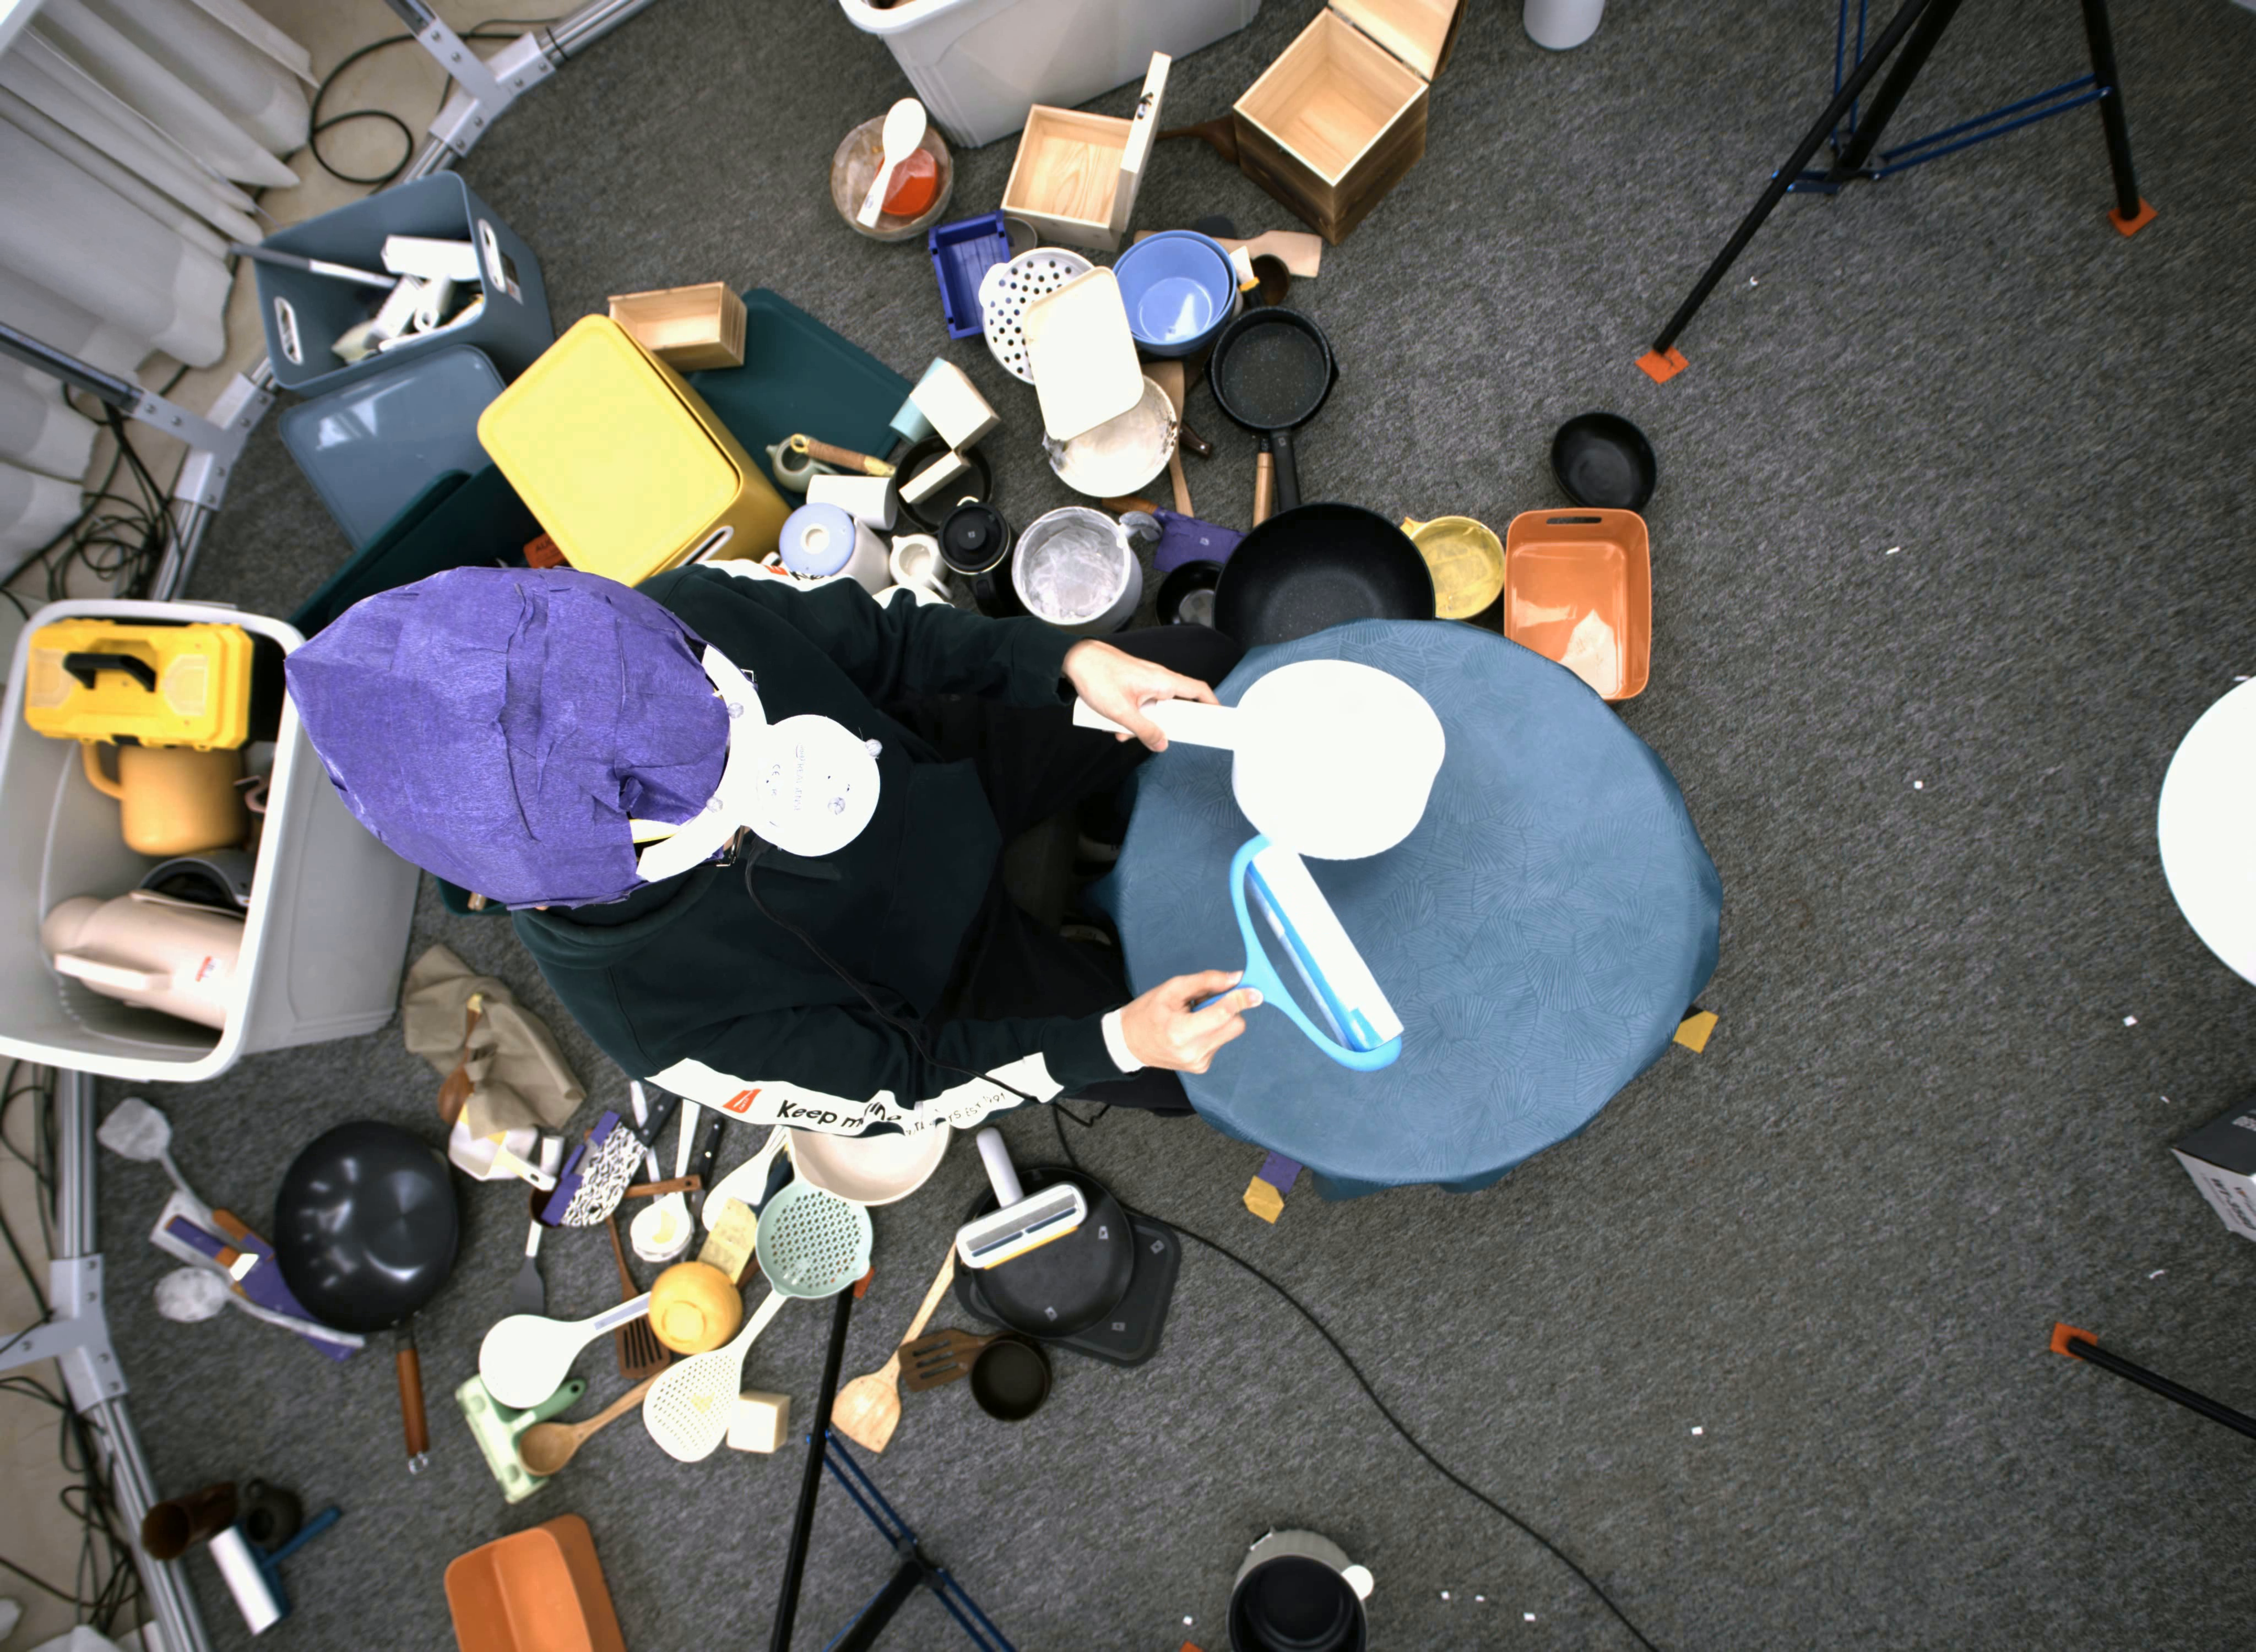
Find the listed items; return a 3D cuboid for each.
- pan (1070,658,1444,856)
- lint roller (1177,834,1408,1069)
[{"bbox_3d":[0.120,-0.076,1.339,0.355,0.105,0.195,9,47,5],"label":"pan"},{"bbox_3d":[0.121,0.138,1.209,0.181,0.068,0.227,-33,80,3],"label":"lint roller"}]
